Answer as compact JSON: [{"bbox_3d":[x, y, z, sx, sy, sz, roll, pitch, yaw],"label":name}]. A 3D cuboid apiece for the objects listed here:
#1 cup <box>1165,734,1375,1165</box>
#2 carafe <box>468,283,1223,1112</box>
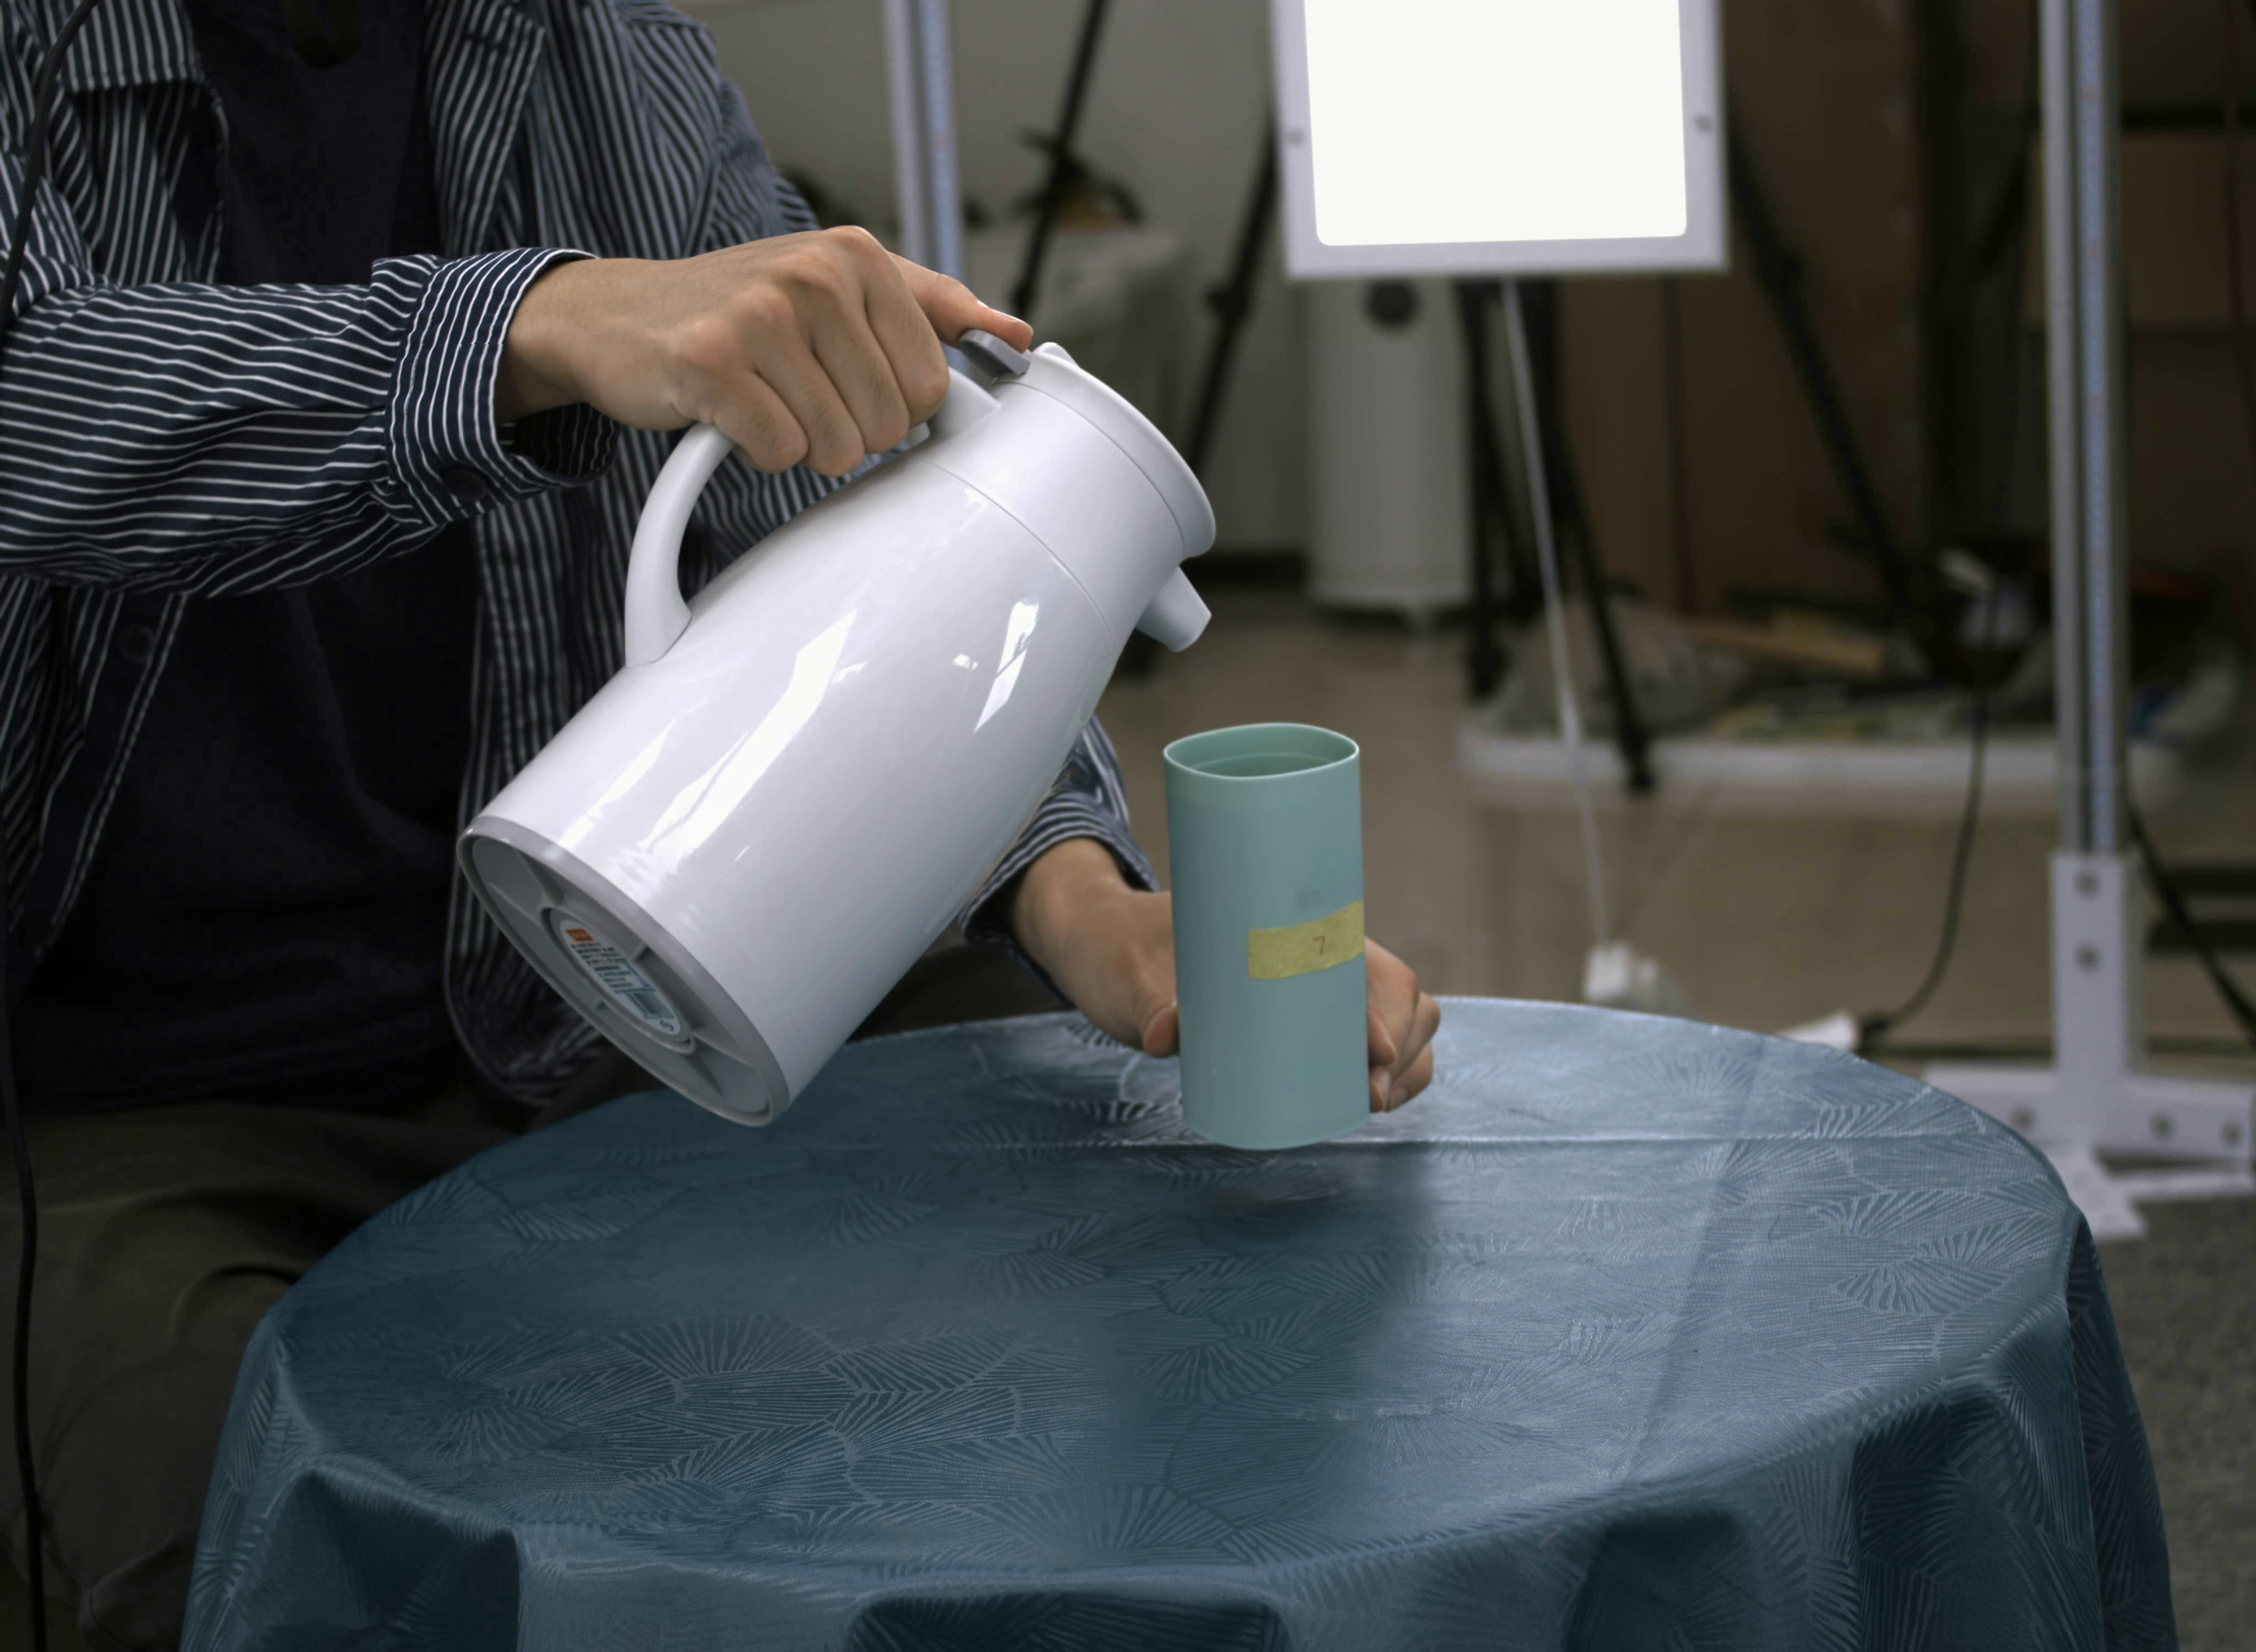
[{"bbox_3d":[0.048,0.040,1.839,0.066,0.133,0.066,-4,16,0],"label":"cup"},{"bbox_3d":[-0.089,-0.057,1.727,0.246,0.166,0.135,-49,22,-16],"label":"carafe"}]
